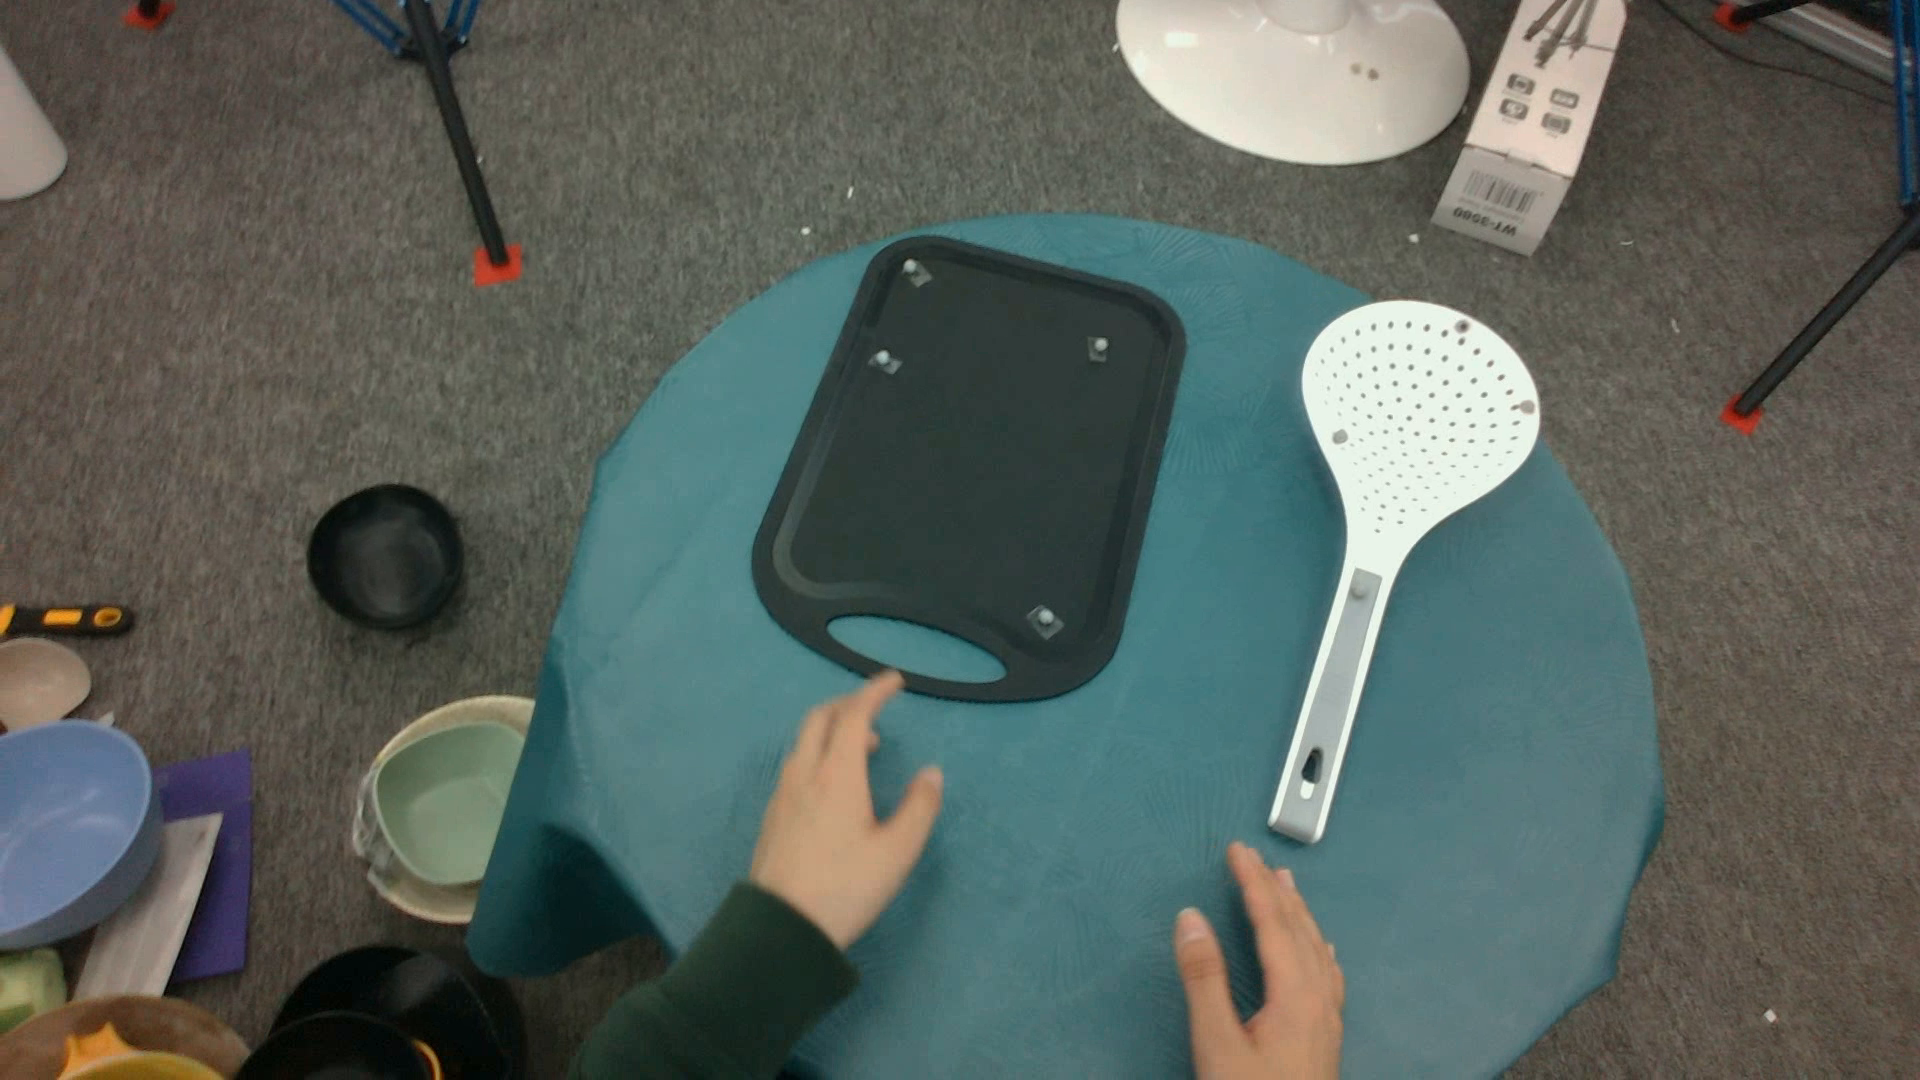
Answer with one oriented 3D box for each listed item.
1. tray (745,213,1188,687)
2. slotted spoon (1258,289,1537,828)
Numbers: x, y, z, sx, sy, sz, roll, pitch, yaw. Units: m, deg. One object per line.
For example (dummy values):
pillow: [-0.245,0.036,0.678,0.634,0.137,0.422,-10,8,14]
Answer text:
tray: [0.010,-0.063,0.805,0.211,0.010,0.327,16,58,4]
slotted spoon: [0.230,-0.001,0.768,0.136,0.045,0.351,21,59,9]
